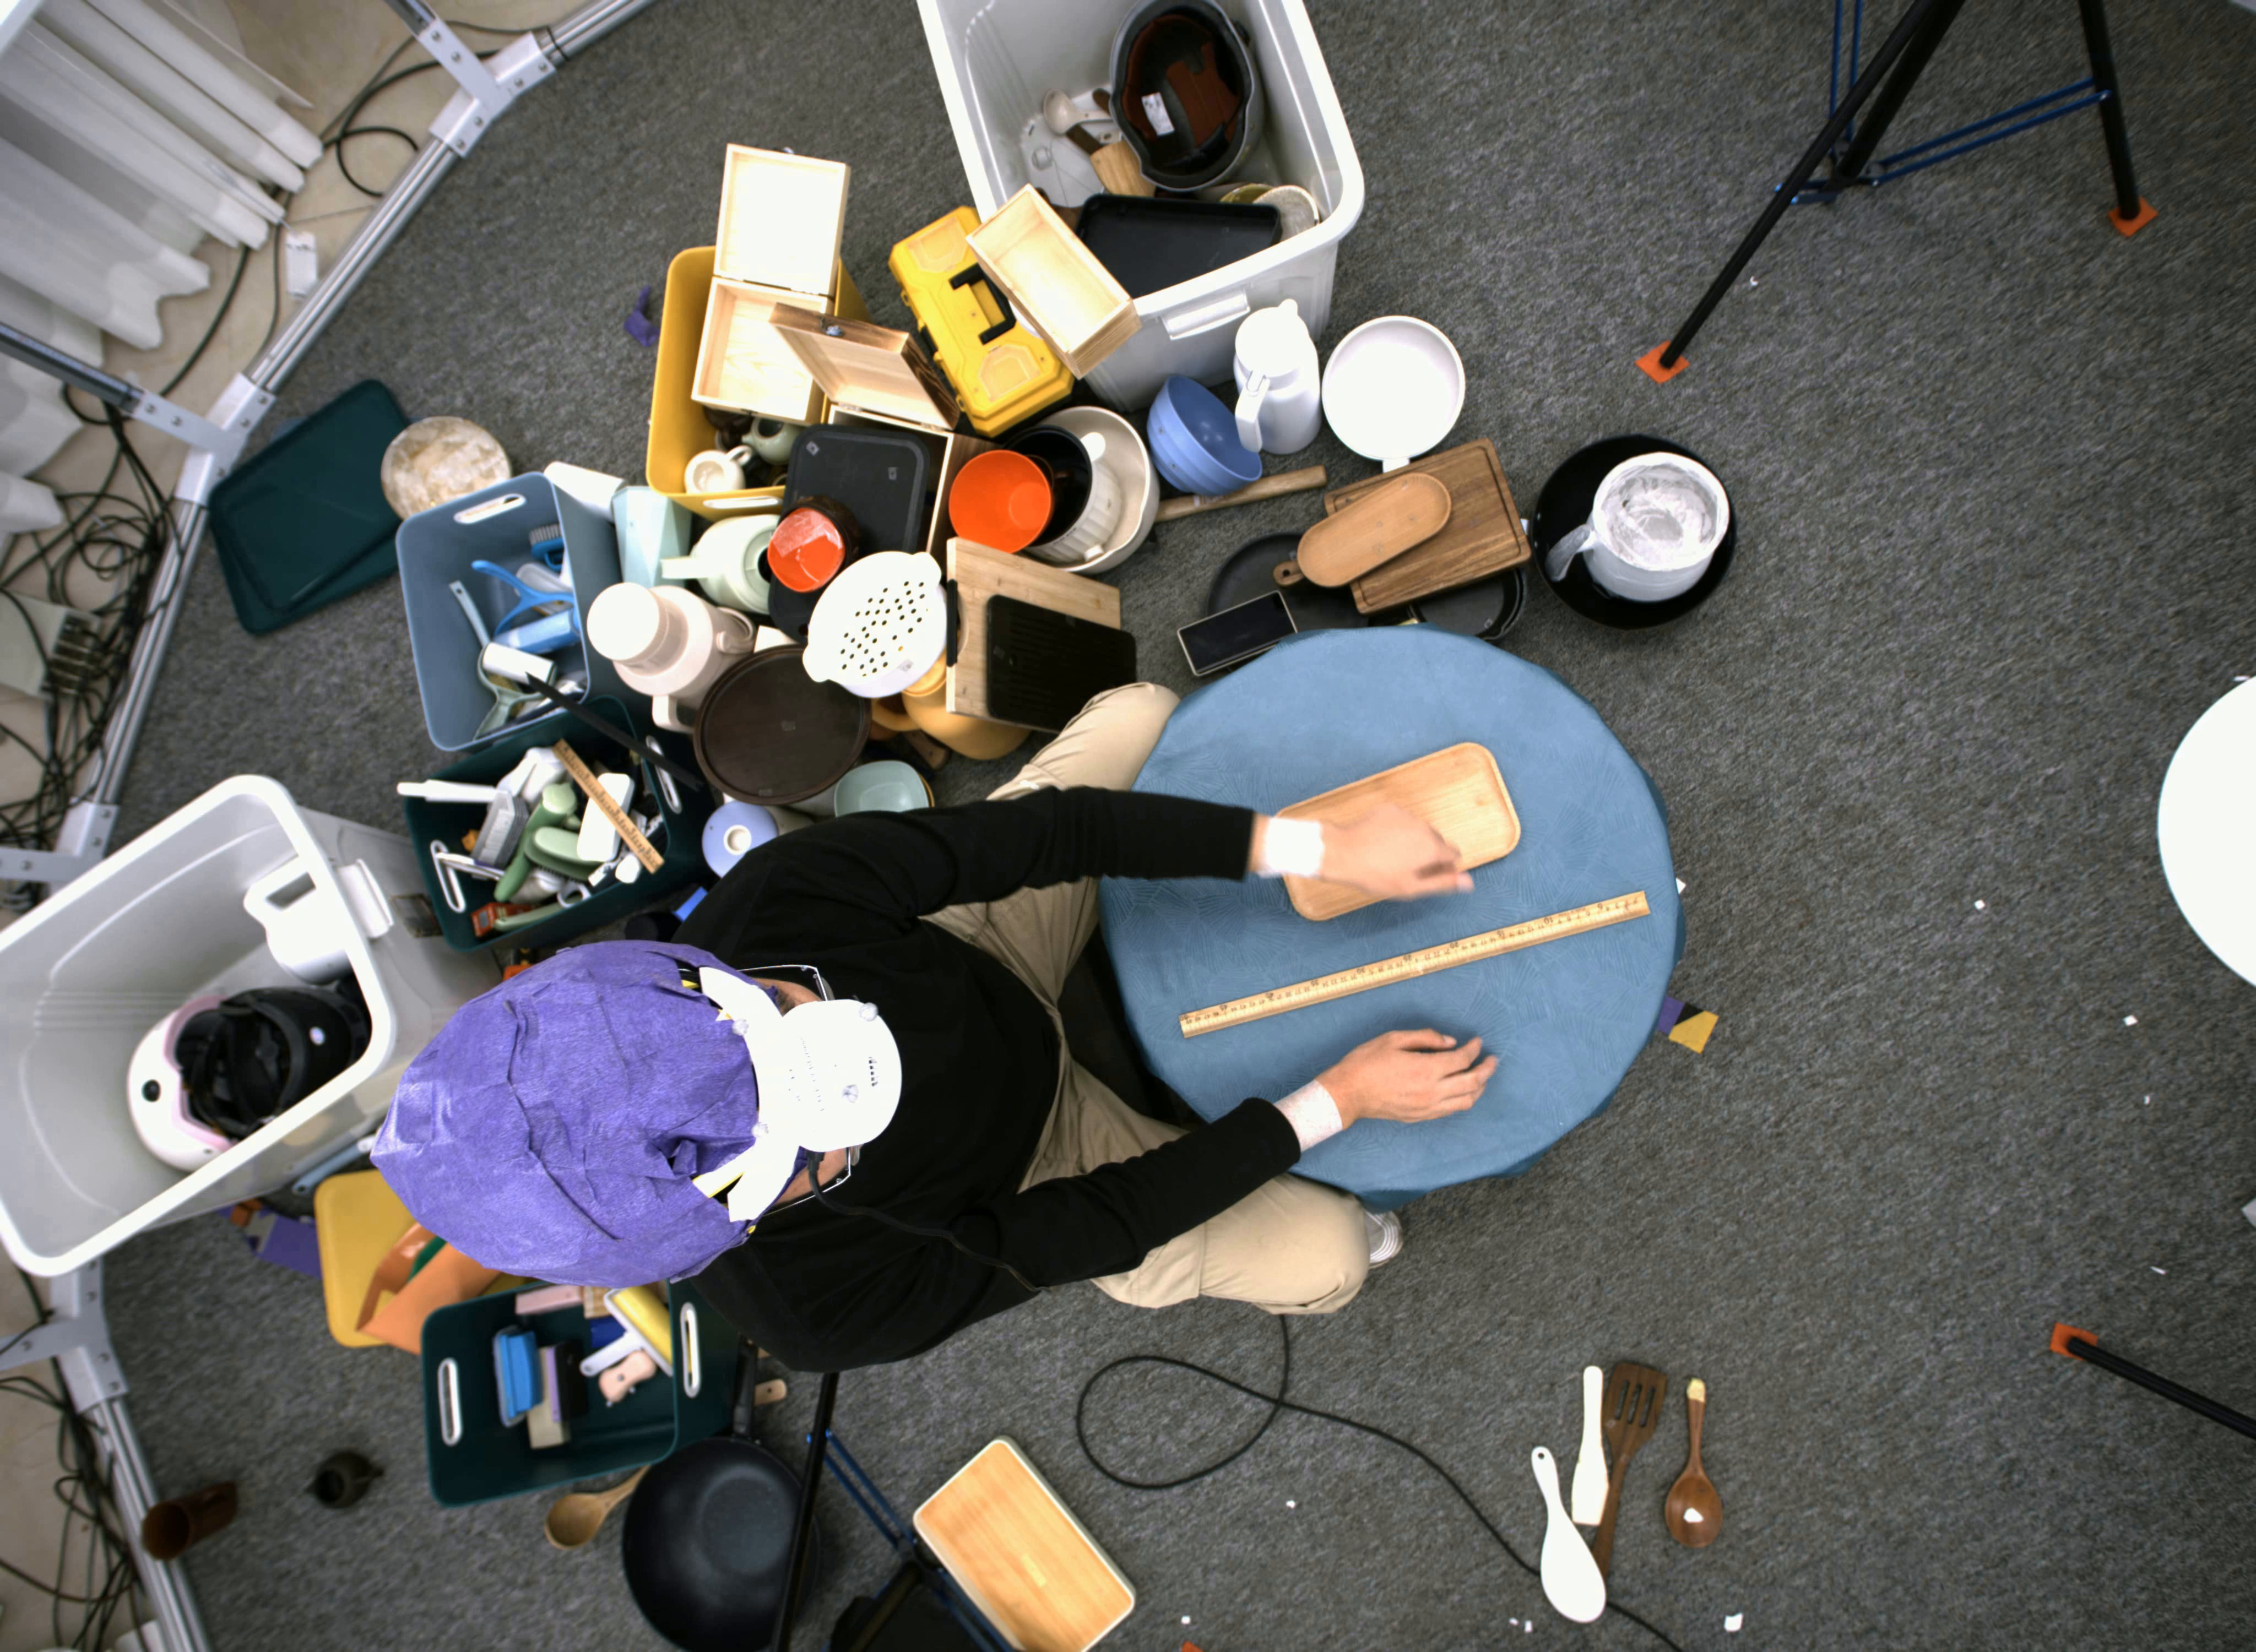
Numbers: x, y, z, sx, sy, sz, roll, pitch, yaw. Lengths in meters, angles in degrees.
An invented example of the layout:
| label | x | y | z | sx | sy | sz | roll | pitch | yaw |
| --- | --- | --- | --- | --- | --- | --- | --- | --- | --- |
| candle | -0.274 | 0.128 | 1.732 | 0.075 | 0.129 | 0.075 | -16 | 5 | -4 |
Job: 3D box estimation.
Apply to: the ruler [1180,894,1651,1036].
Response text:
| label | x | y | z | sx | sy | sz | roll | pitch | yaw |
| --- | --- | --- | --- | --- | --- | --- | --- | --- | --- |
| ruler | 0.296 | 0.144 | 1.449 | 0.503 | 0.006 | 0.026 | -16 | 82 | 9 |

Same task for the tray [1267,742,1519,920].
| label | x | y | z | sx | sy | sz | roll | pitch | yaw |
| --- | --- | --- | --- | --- | --- | --- | --- | --- | --- |
| tray | 0.278 | 0.005 | 1.454 | 0.252 | 0.023 | 0.129 | -19 | 81 | 10 |
